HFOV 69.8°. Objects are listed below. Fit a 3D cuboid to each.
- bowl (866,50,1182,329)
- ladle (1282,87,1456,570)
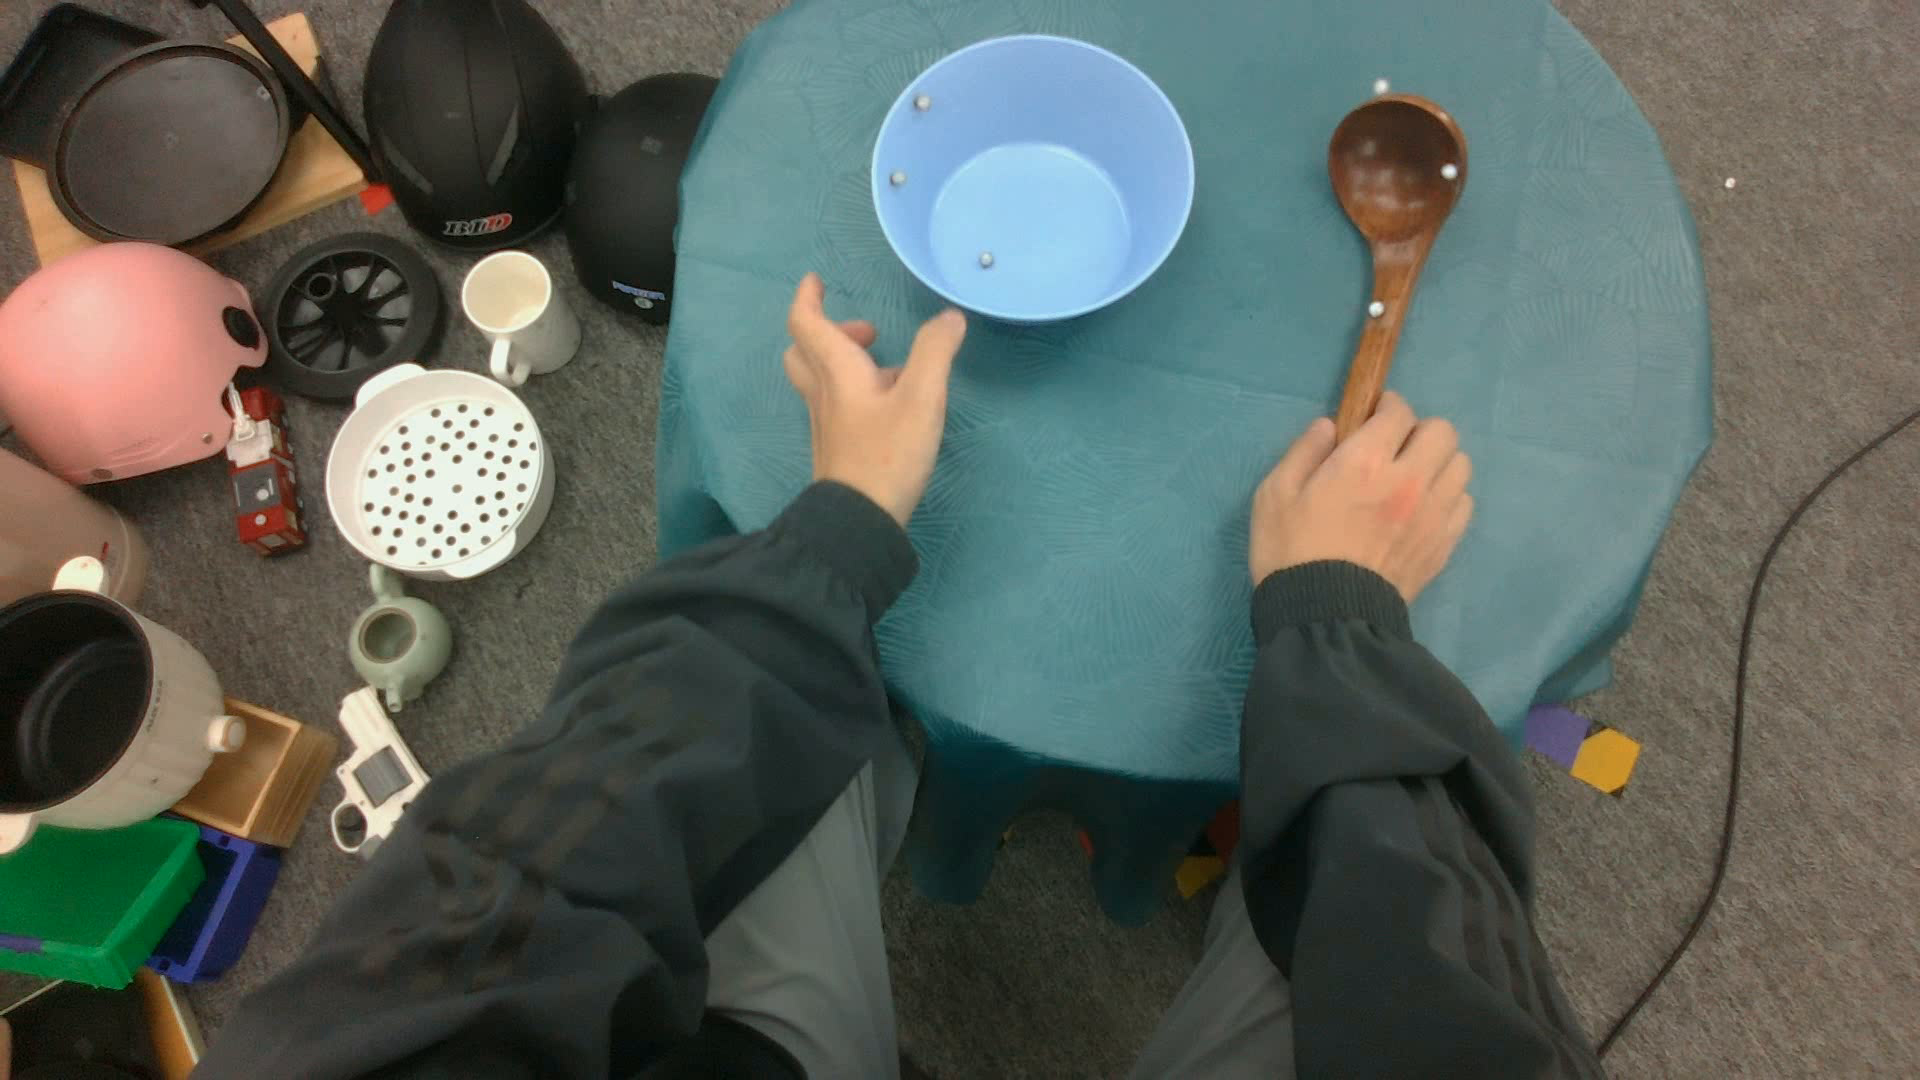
[{"bbox_3d":[0.037,-0.189,0.793,0.176,0.070,0.176,-1,72,3],"label":"bowl"},{"bbox_3d":[0.212,-0.122,0.765,0.082,0.076,0.275,2,67,50],"label":"ladle"}]
